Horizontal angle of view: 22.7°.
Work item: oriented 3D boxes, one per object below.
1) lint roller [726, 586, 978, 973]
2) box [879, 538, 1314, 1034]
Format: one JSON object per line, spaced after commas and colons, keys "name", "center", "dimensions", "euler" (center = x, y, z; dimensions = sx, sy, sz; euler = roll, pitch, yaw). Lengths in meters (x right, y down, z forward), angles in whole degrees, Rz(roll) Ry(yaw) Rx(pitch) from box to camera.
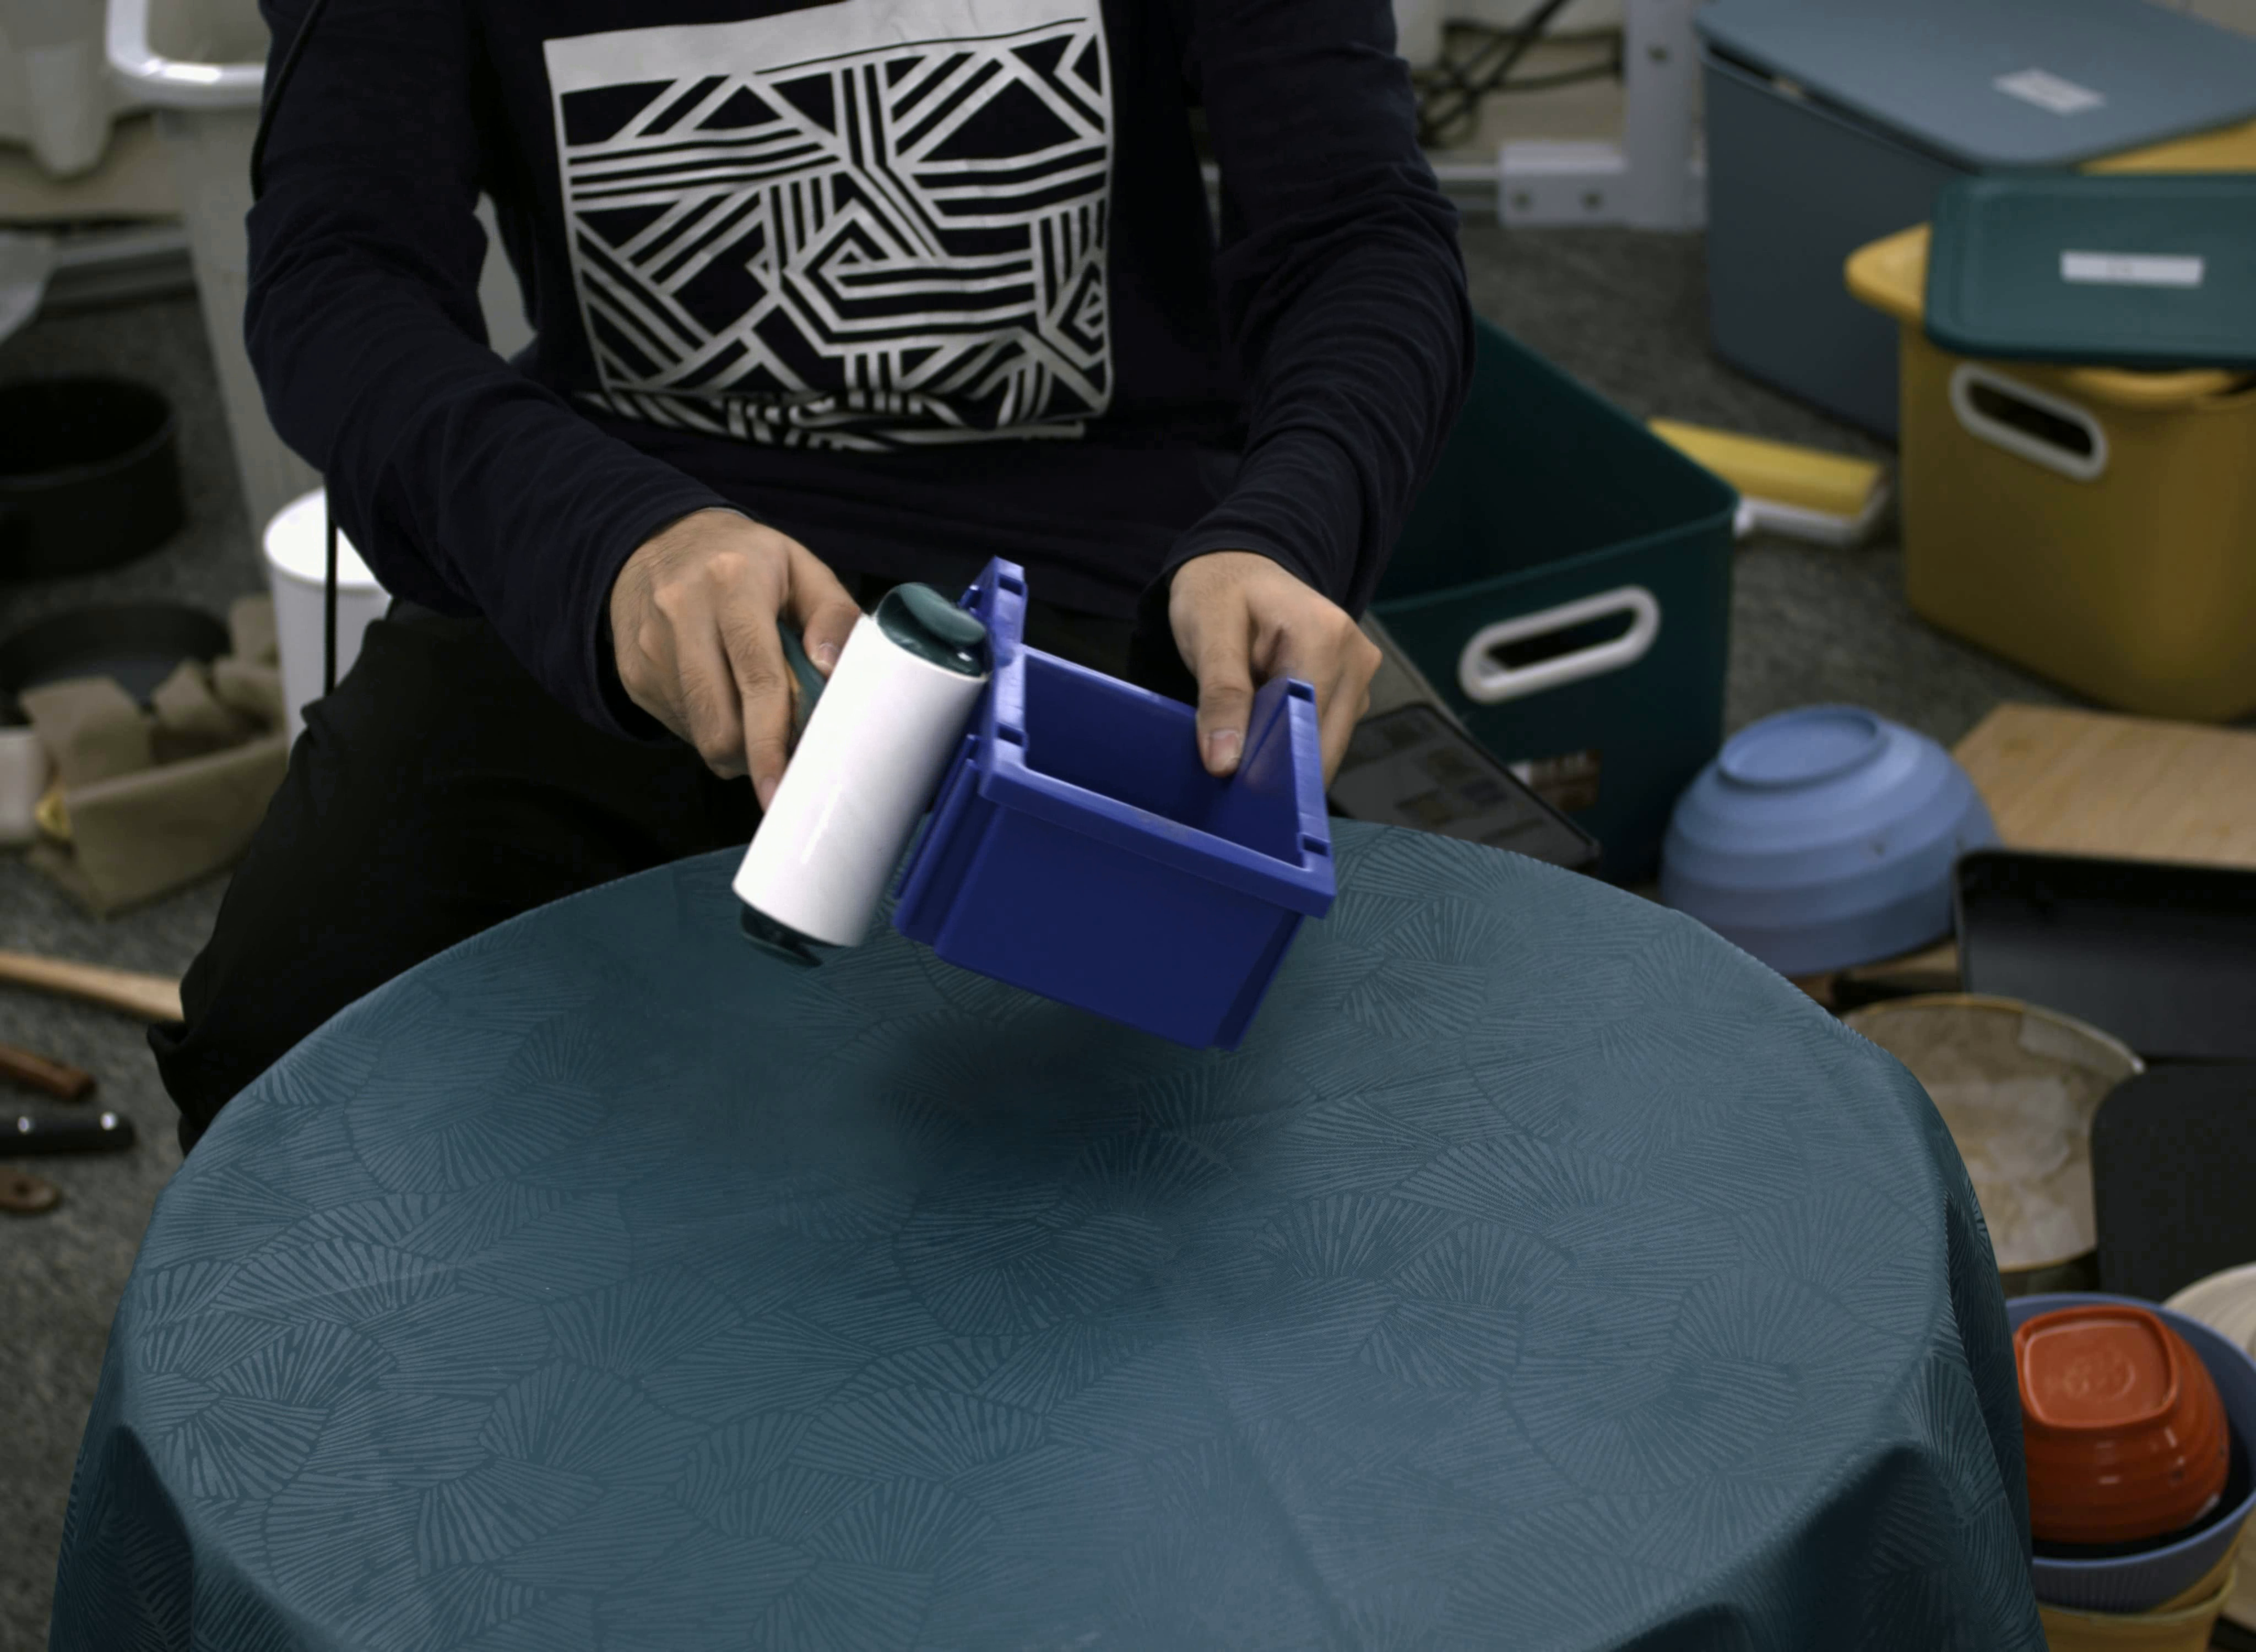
{"name": "lint roller", "center": [-0.115, -0.037, 1.902], "dimensions": [0.048, 0.134, 0.181], "euler": [21, 10, -29]}
{"name": "box", "center": [-0.009, -0.018, 1.887], "dimensions": [0.124, 0.081, 0.182], "euler": [20, 30, -10]}
